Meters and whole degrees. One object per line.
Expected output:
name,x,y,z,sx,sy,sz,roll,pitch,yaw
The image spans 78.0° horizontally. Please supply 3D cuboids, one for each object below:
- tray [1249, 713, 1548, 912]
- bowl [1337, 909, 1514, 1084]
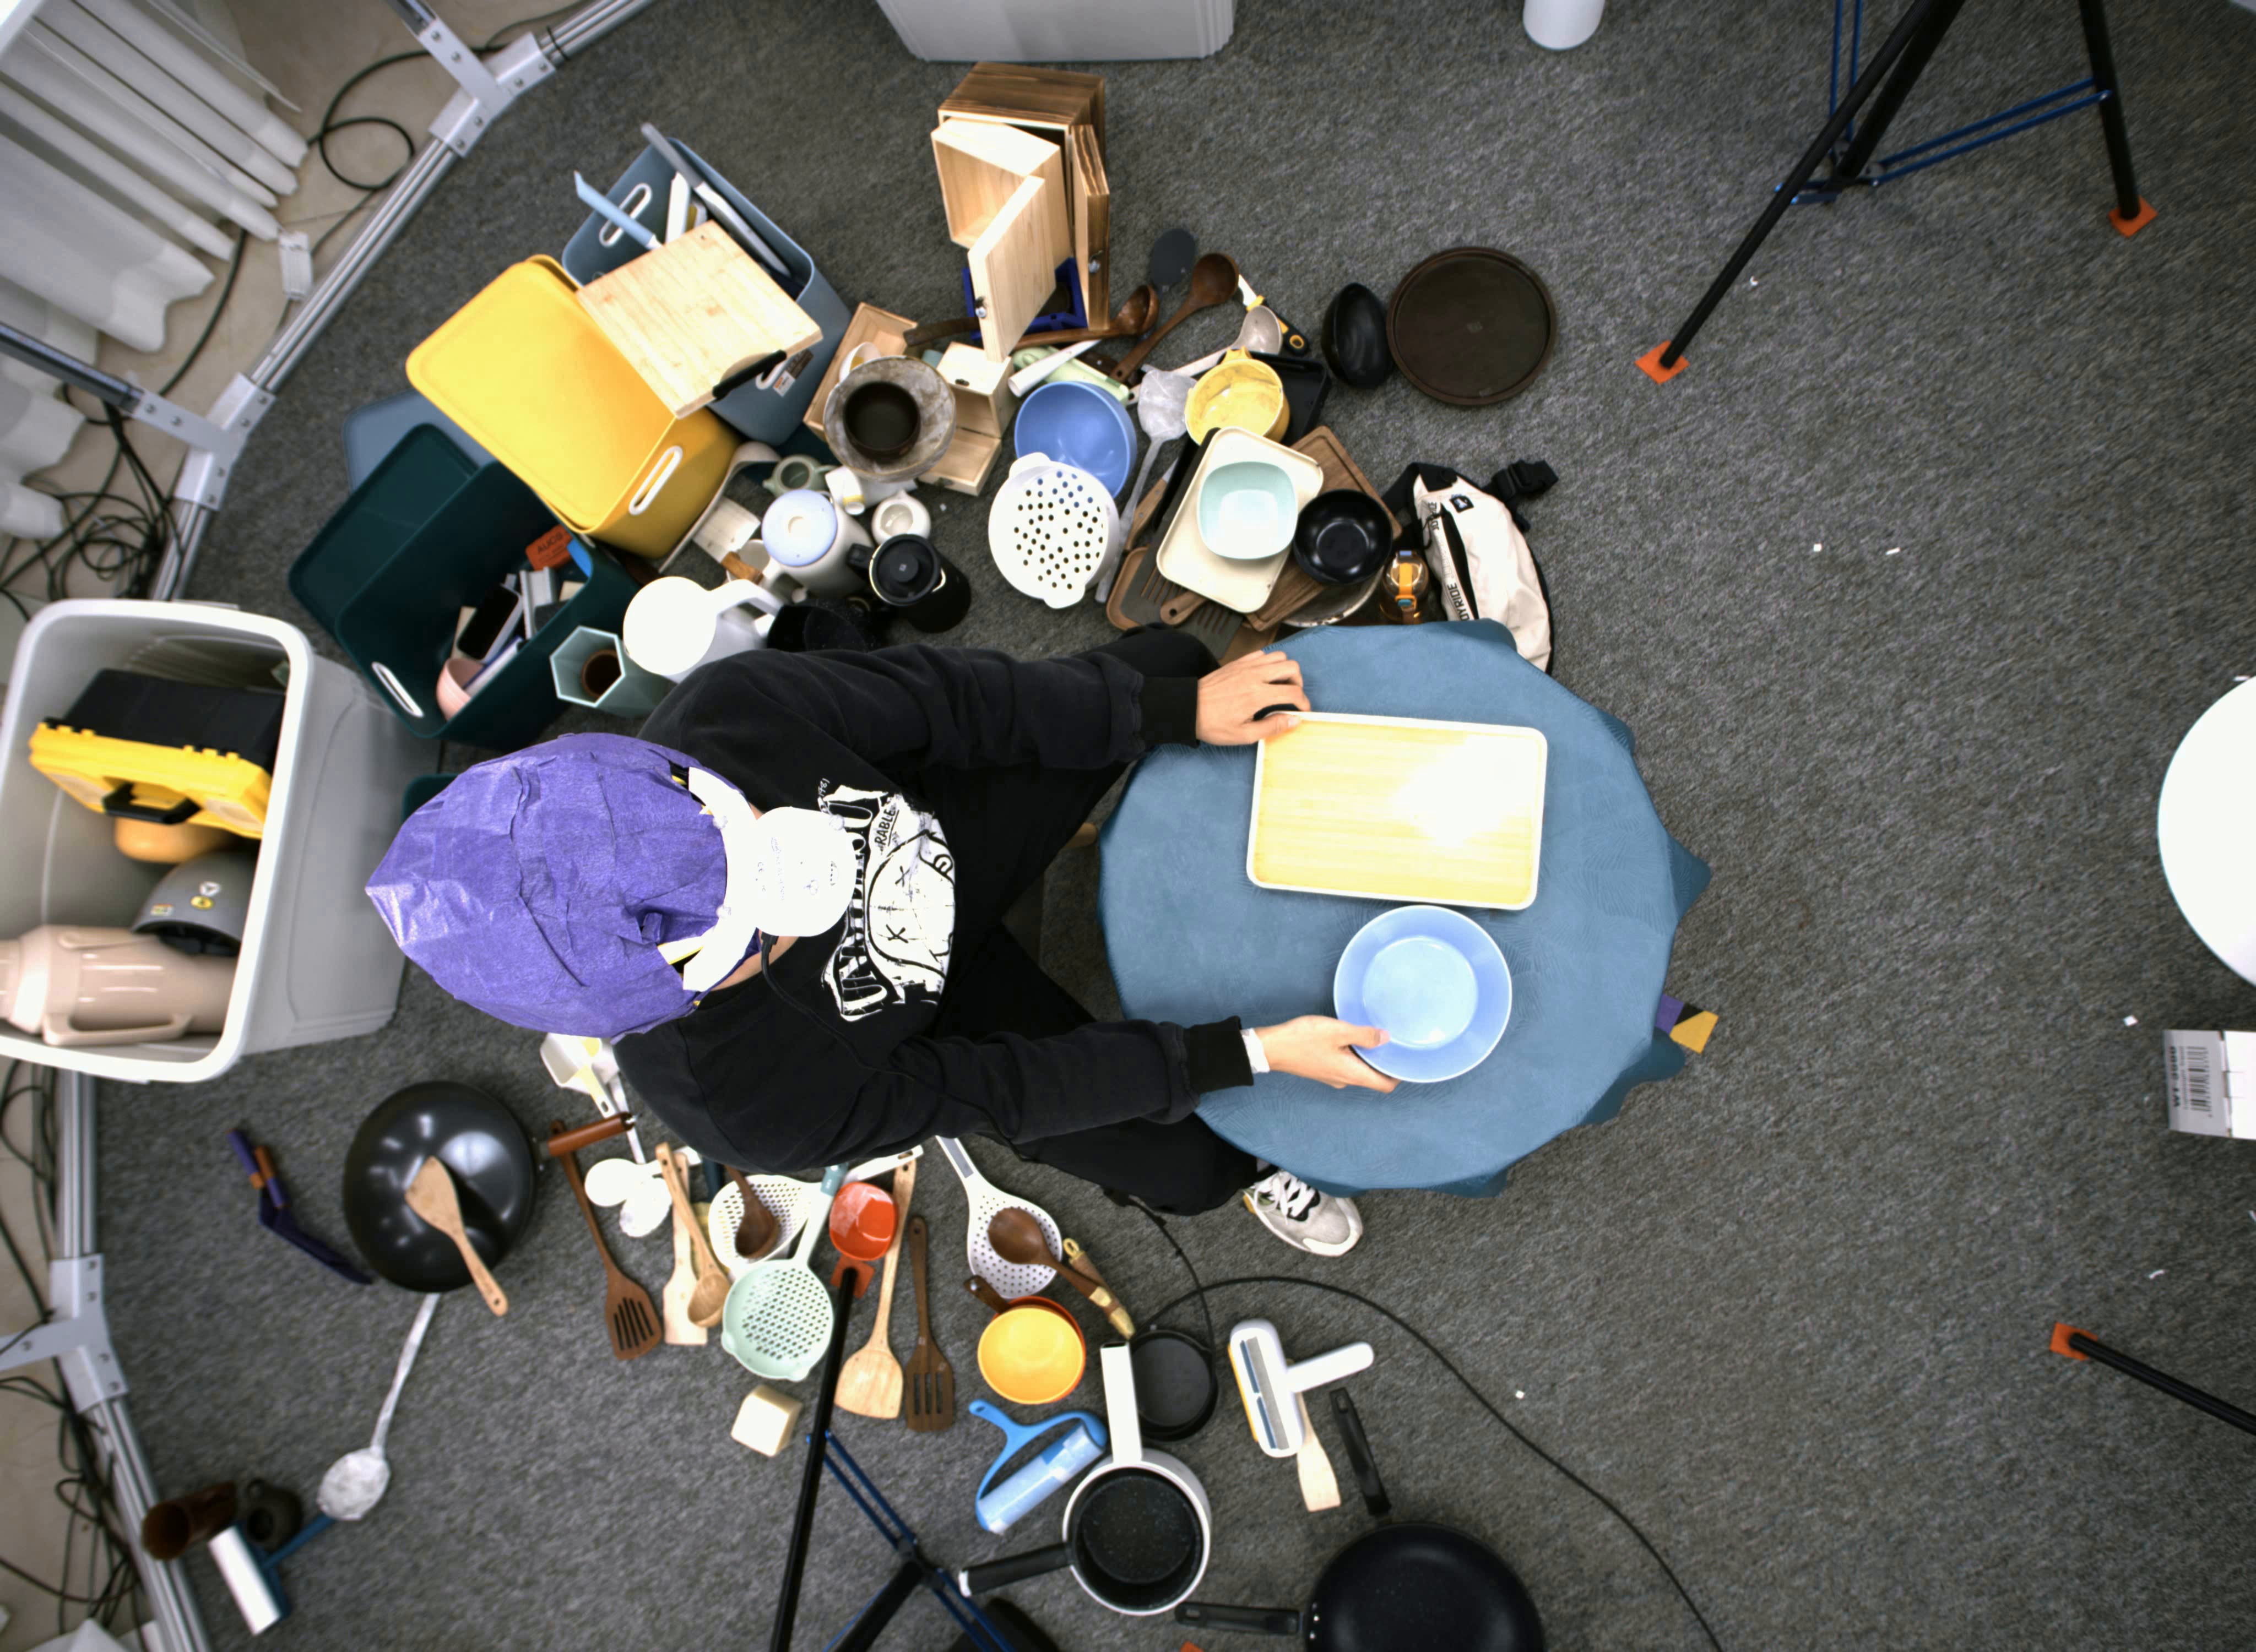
tray,0.284,-0.016,1.455,0.301,0.027,0.191,5,87,10
bowl,0.303,0.173,1.416,0.177,0.070,0.175,-1,84,10
